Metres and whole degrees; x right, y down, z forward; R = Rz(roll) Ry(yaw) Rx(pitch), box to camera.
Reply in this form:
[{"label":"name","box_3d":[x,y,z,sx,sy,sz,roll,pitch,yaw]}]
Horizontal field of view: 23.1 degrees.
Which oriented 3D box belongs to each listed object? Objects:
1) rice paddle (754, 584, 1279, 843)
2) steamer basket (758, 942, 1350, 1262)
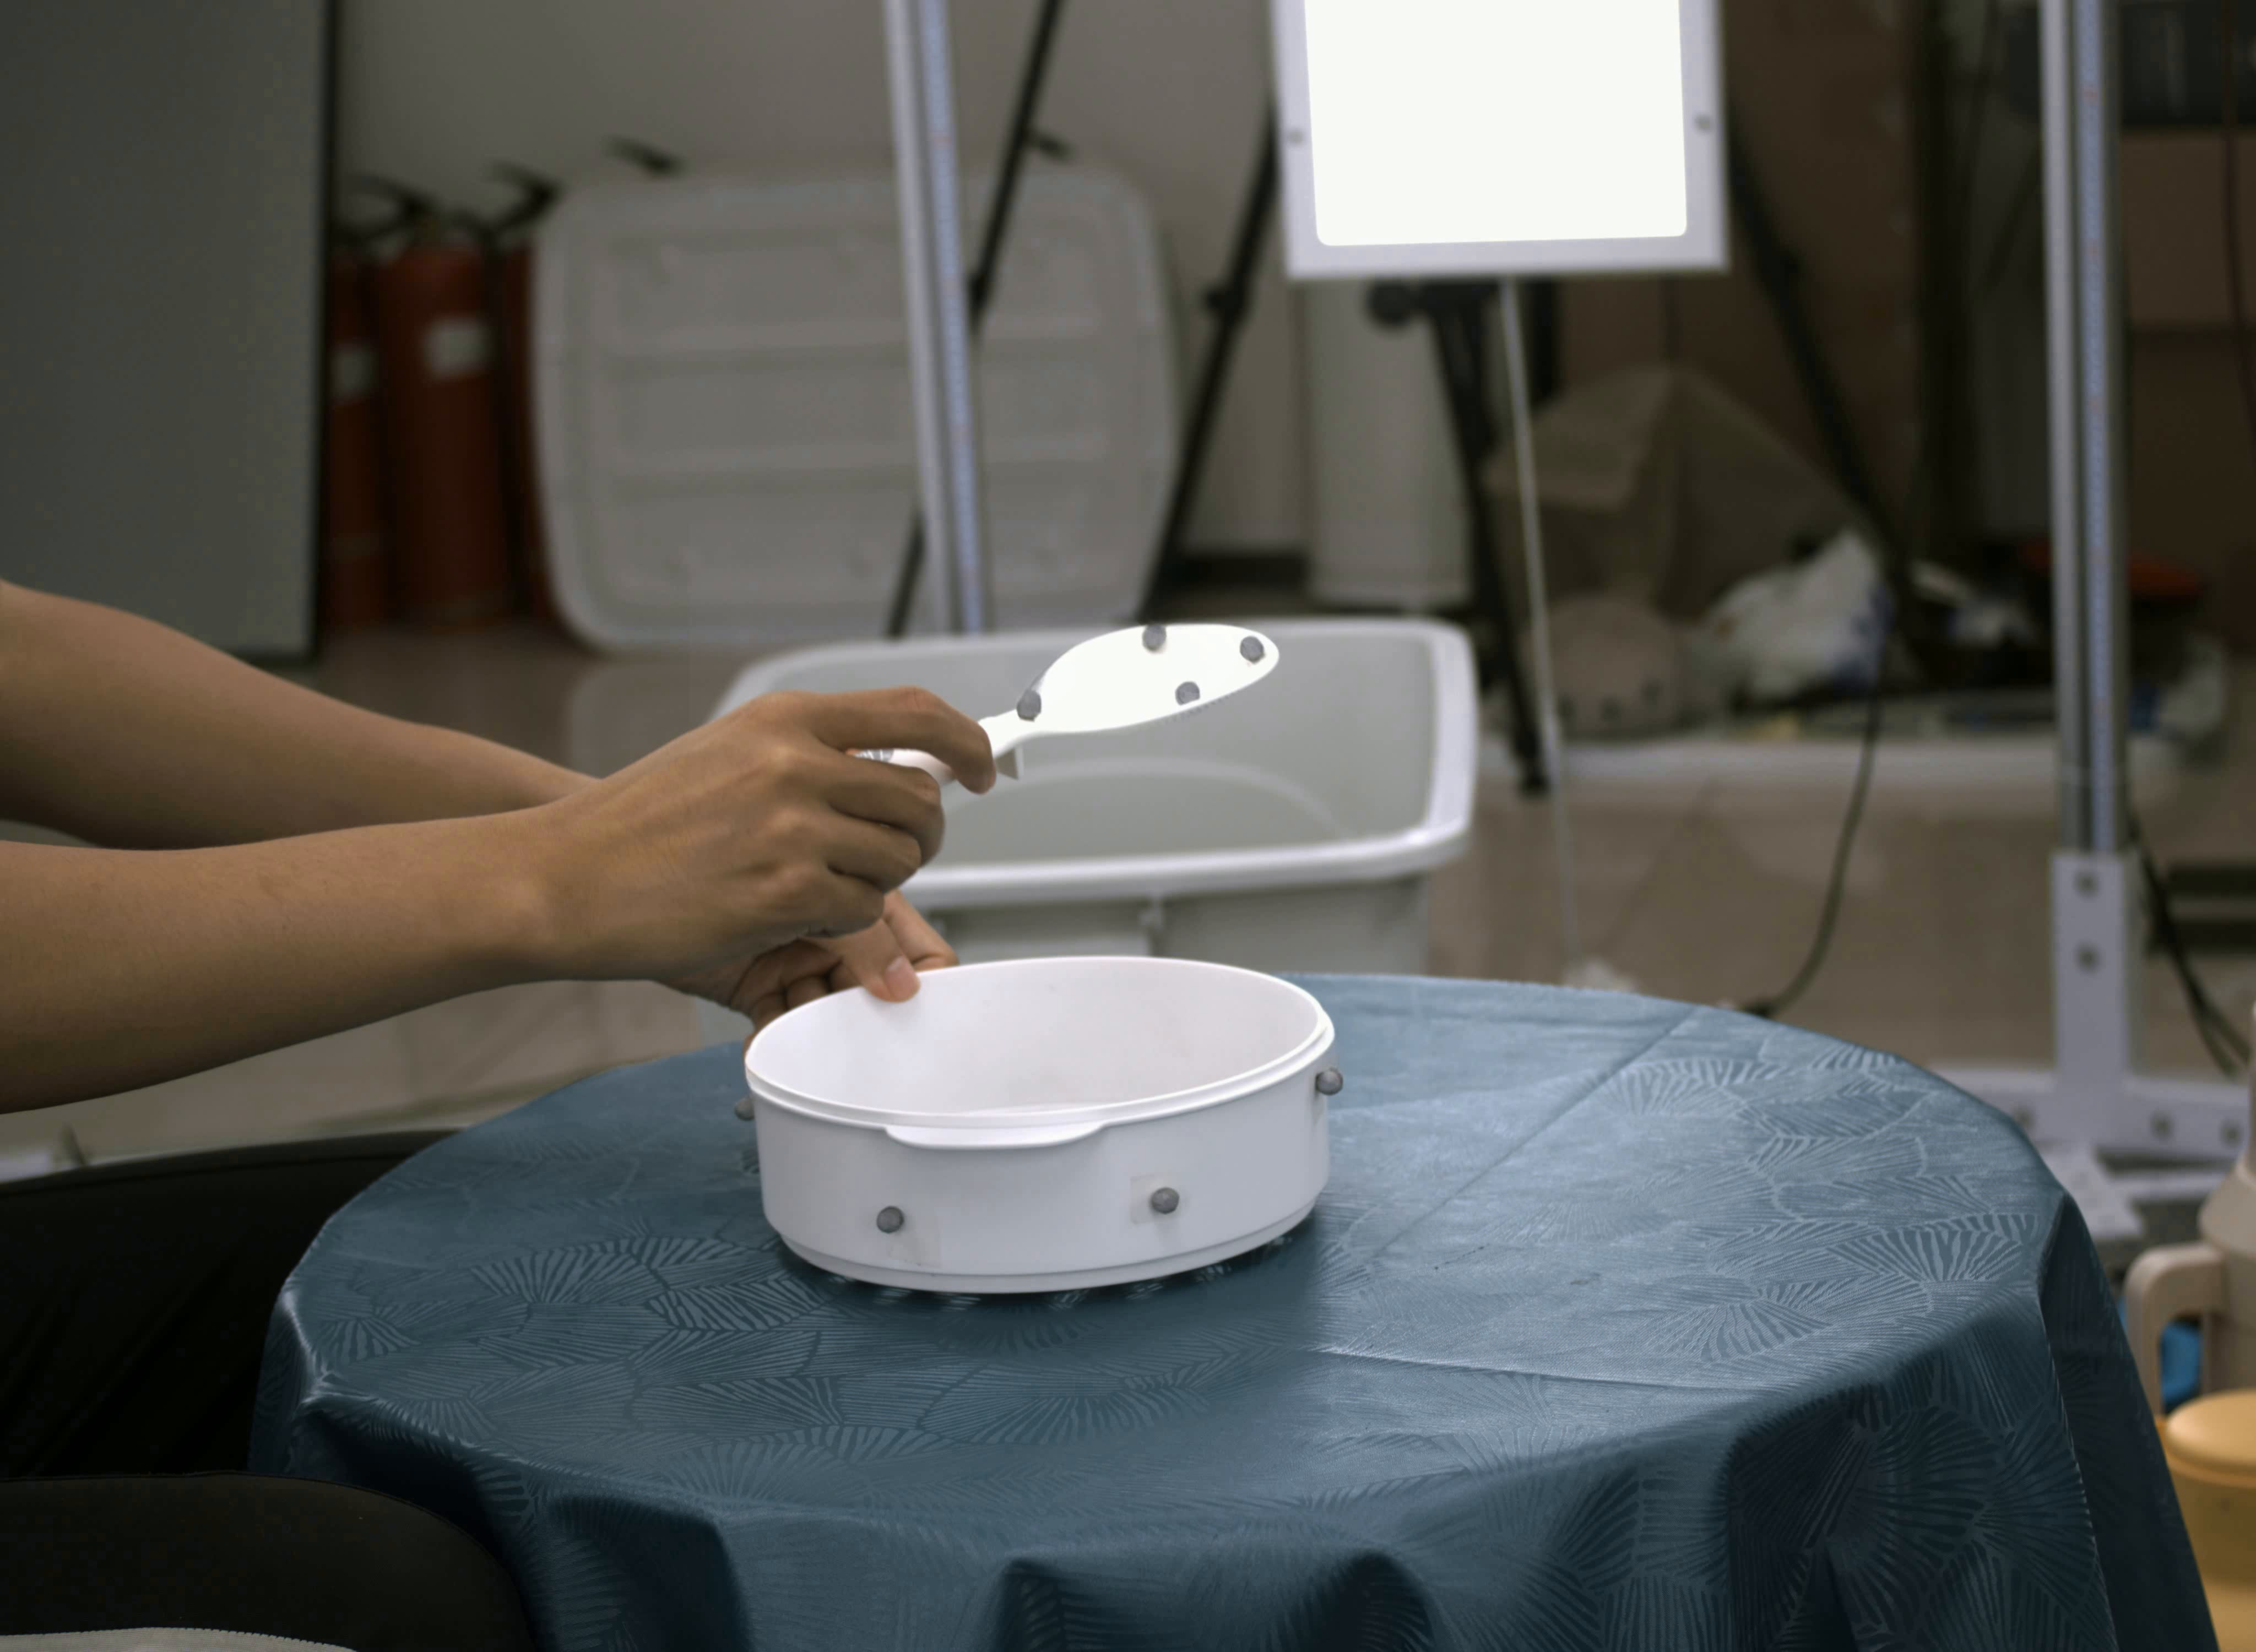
[{"label":"rice paddle","box_3d":[-0.032,-0.044,1.760,0.200,0.029,0.070,-25,32,-34]},{"label":"steamer basket","box_3d":[-0.023,0.094,1.875,0.203,0.069,0.228,-2,12,10]}]
